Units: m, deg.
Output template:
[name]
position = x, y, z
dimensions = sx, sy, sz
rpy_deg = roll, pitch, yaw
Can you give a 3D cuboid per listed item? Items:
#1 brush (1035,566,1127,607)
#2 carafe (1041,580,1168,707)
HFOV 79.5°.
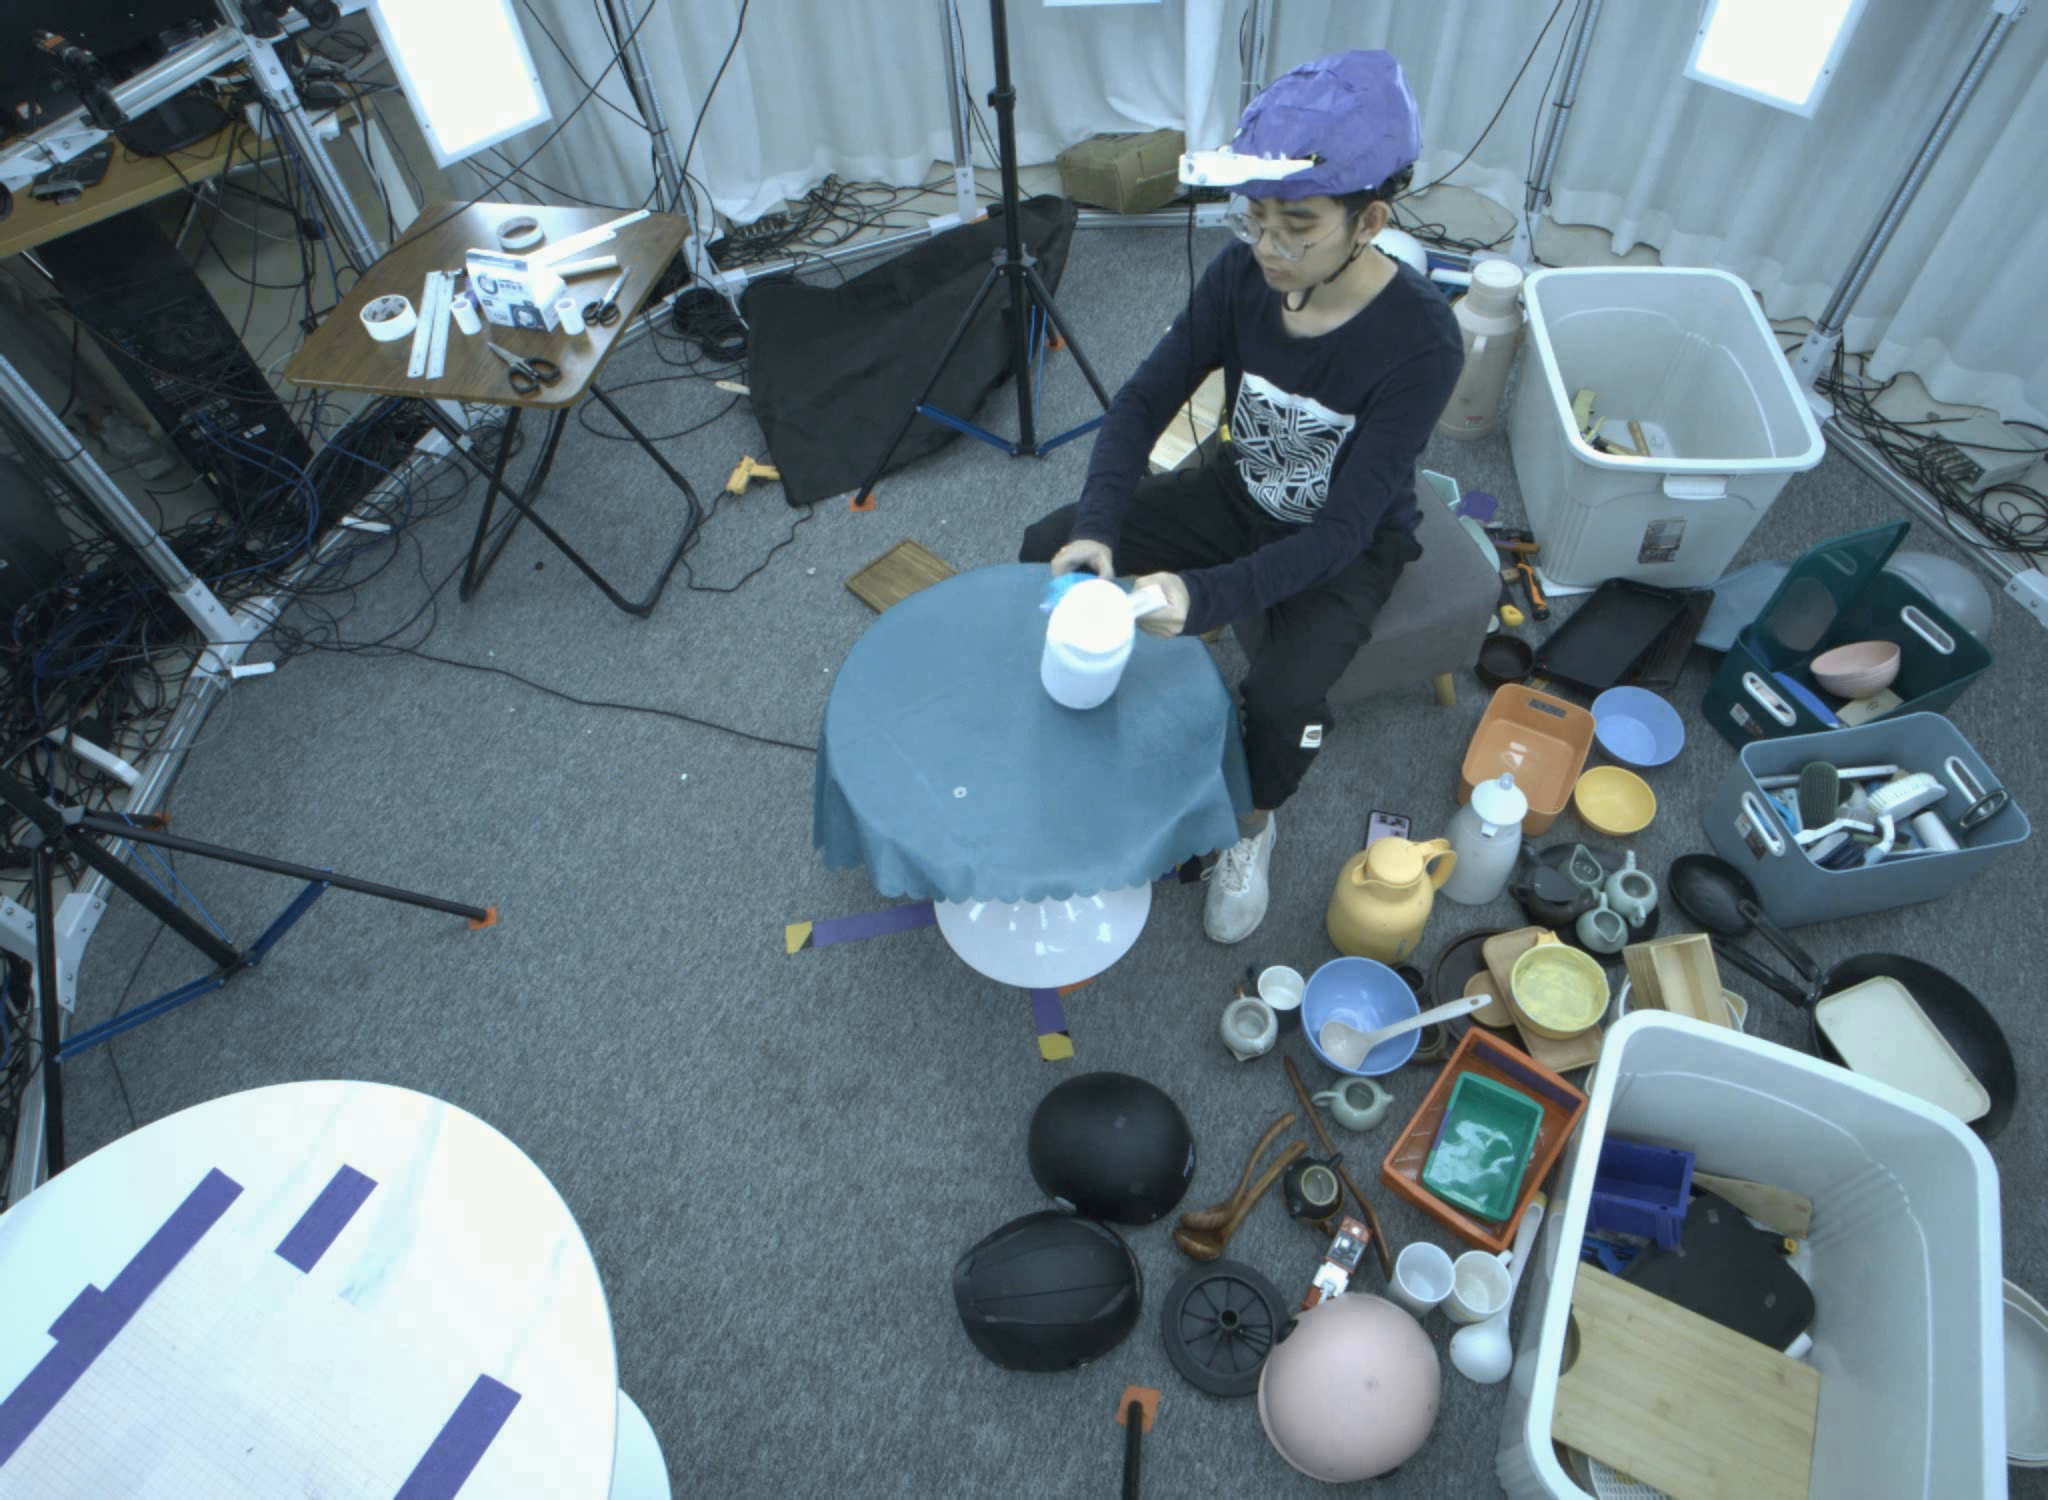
[brush]
position = 0.078, -0.229, 1.725
dimensions = 0.082, 0.146, 0.056
rpy_deg = -16, 86, 34
[carafe]
position = 0.103, -0.153, 1.696
dimensions = 0.173, 0.269, 0.123
rpy_deg = -24, 79, -8
